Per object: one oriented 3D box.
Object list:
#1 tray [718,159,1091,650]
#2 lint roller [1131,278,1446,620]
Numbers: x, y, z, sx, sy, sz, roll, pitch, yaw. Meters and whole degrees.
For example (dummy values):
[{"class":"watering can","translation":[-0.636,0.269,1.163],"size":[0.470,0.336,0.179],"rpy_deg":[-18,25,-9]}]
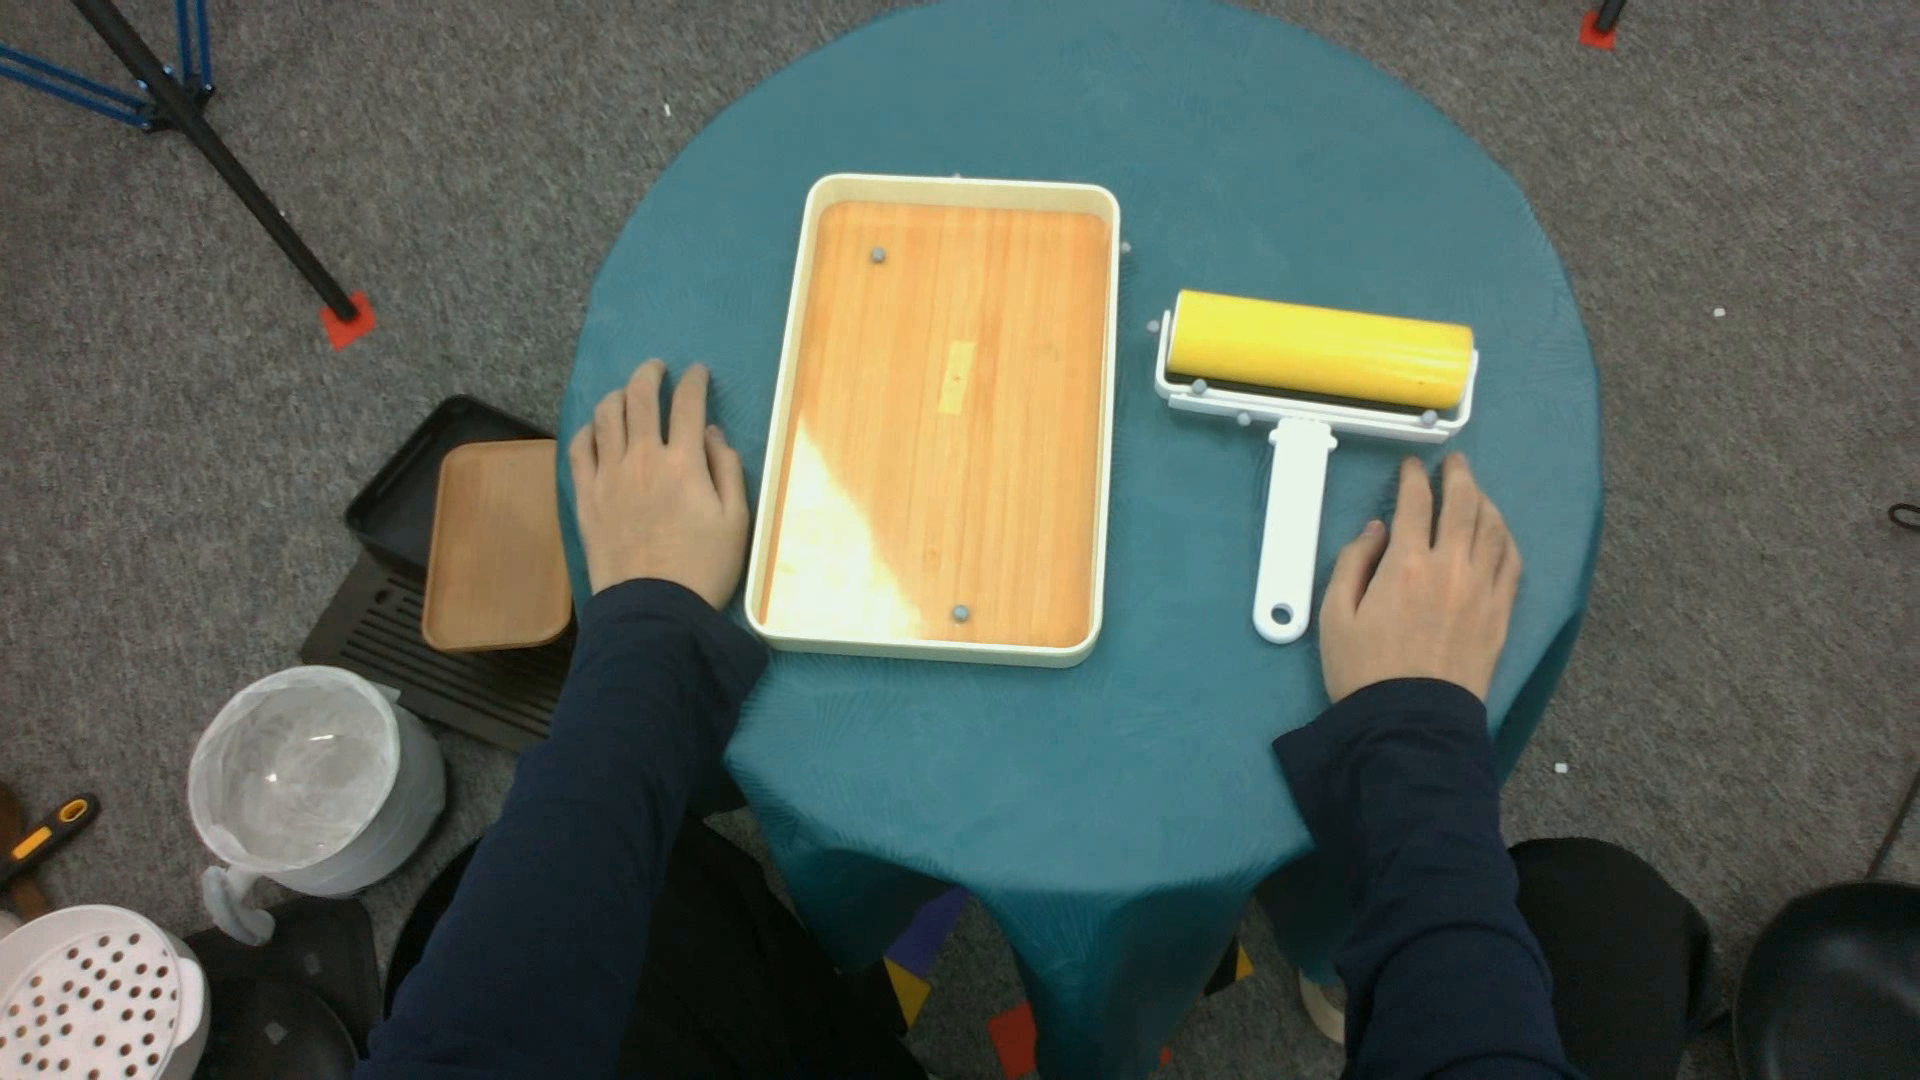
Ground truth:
[{"class":"tray","translation":[-0.025,-0.086,0.784],"size":[0.191,0.027,0.301],"rpy_deg":[3,67,3]},{"class":"lint roller","translation":[0.176,-0.053,0.755],"size":[0.174,0.051,0.193],"rpy_deg":[7,64,5]}]
